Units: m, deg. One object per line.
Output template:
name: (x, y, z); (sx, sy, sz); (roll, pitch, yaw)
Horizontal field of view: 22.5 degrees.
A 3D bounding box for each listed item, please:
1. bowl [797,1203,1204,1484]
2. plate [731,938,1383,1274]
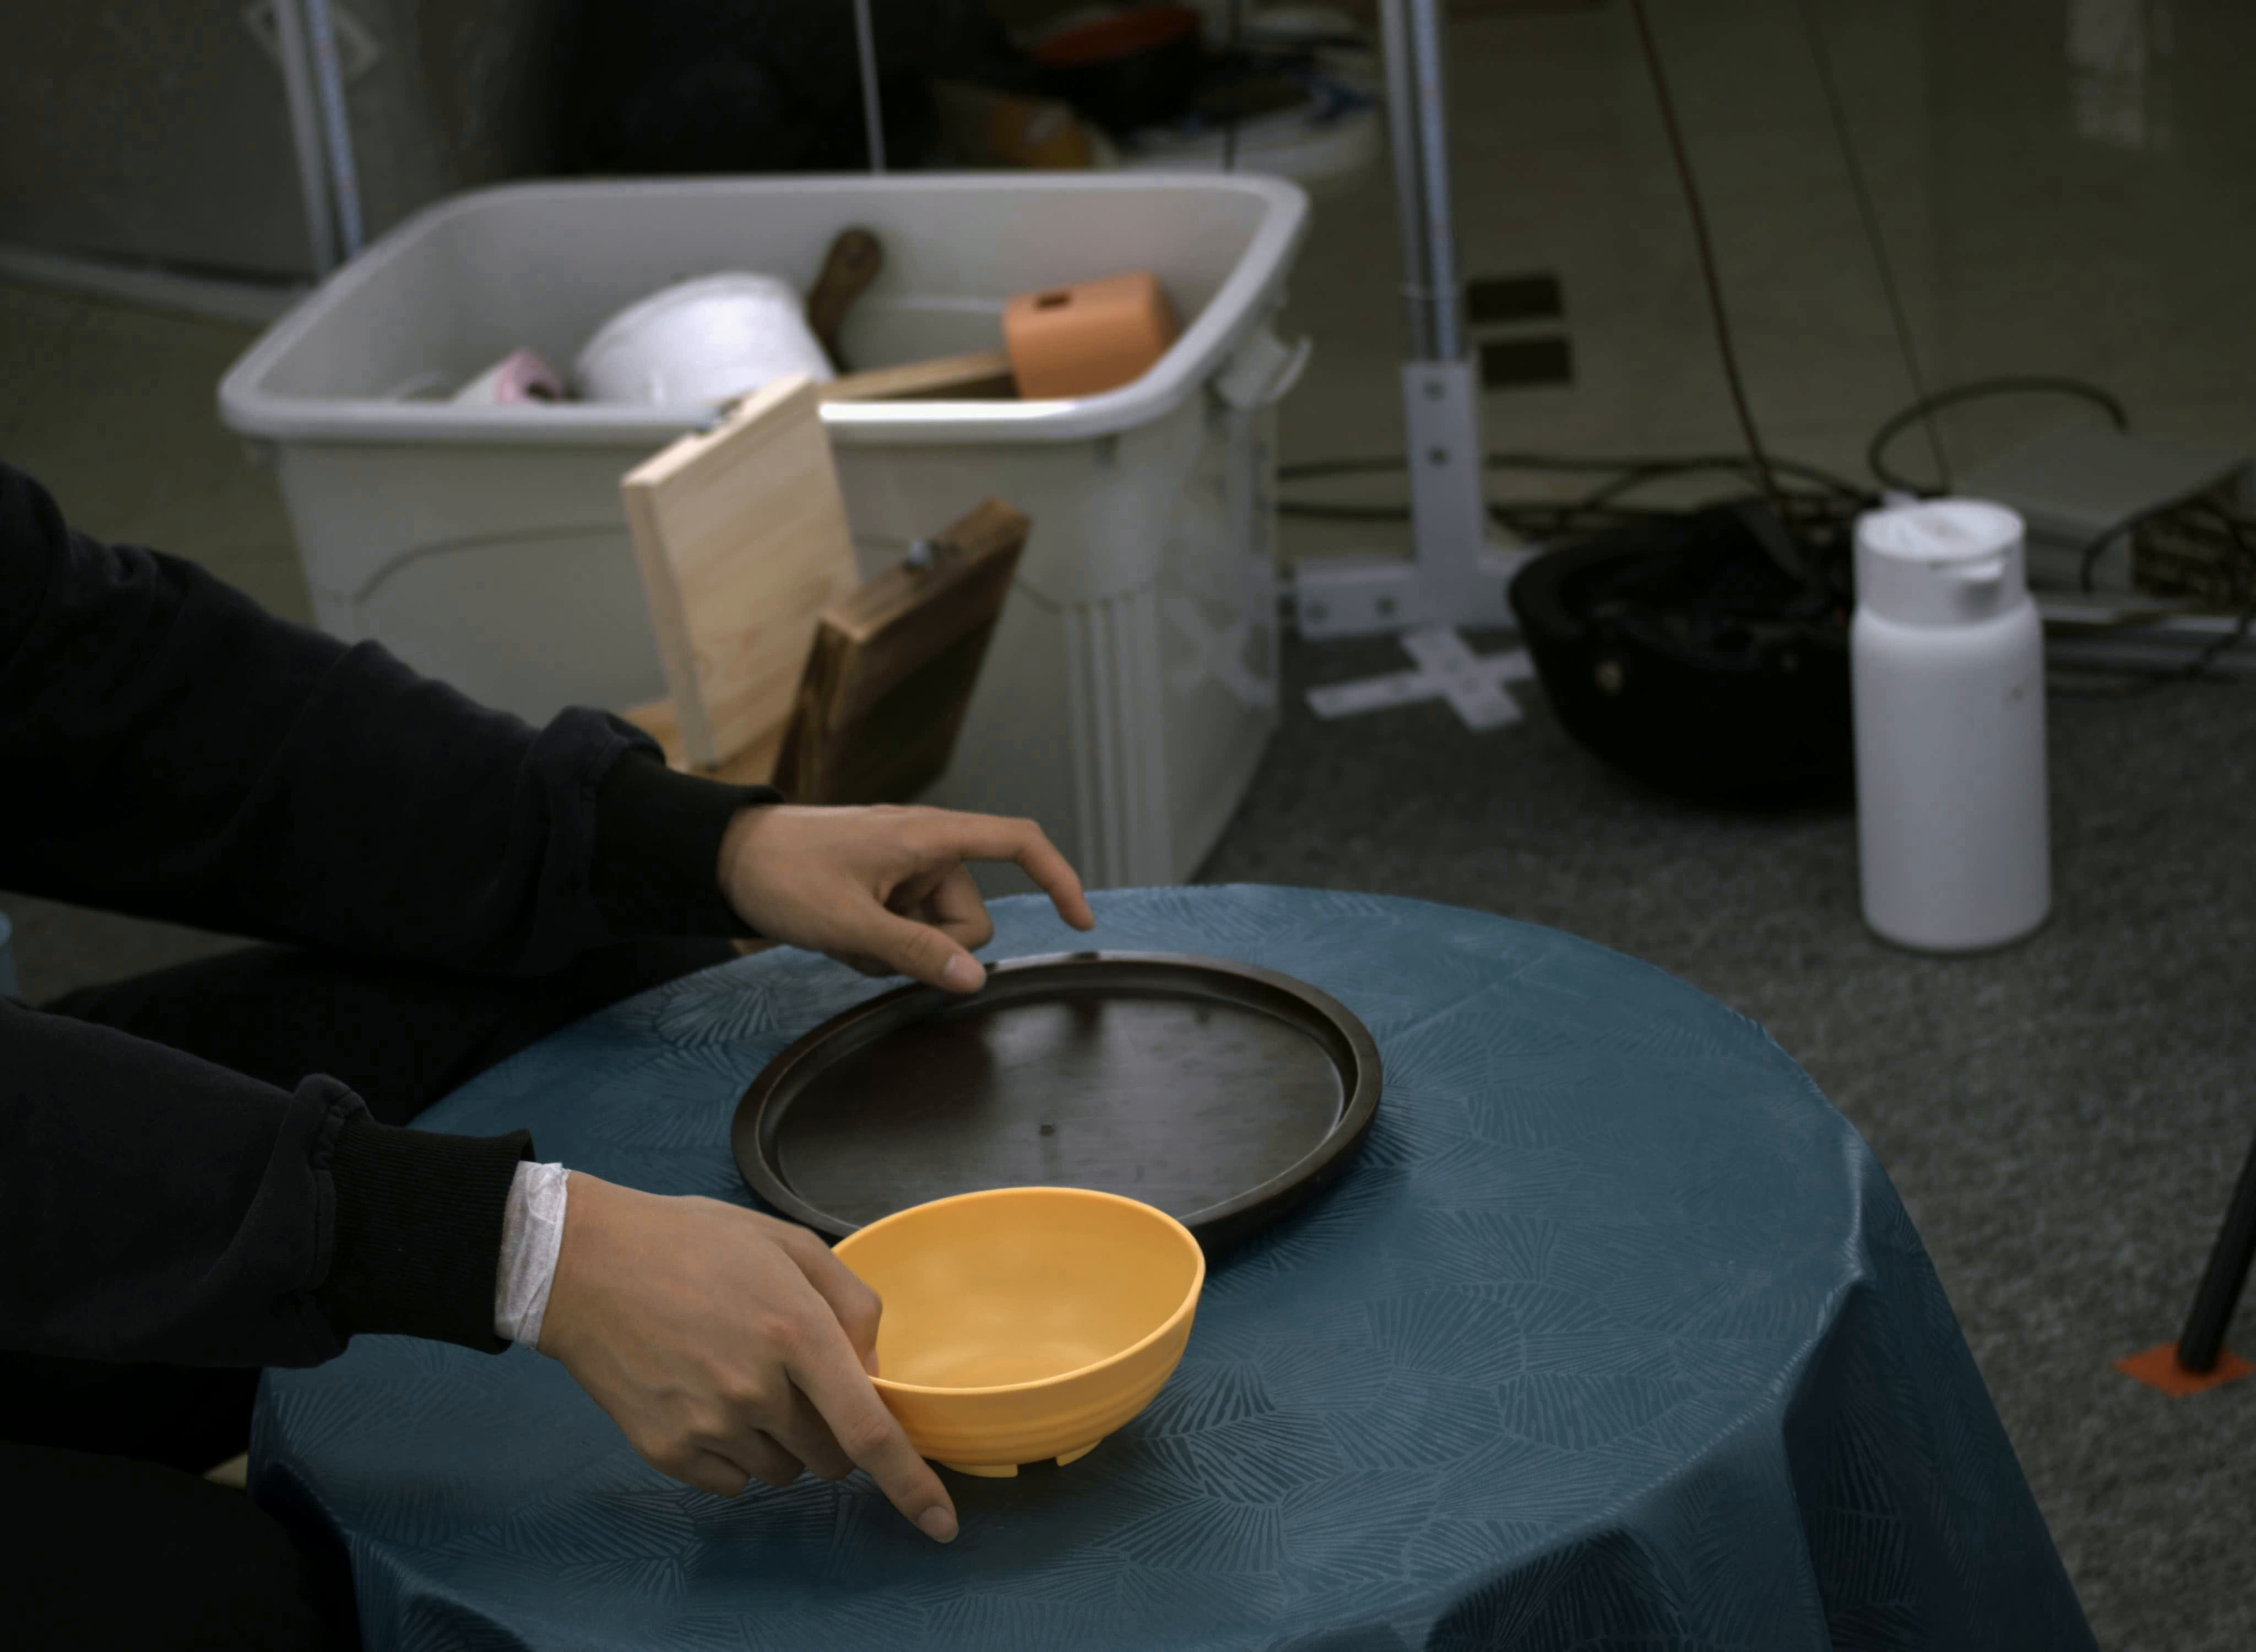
bowl: (-0.041, 0.189, 1.990); (0.145, 0.061, 0.143); (-7, 23, 3)
plate: (-0.027, 0.114, 2.187); (0.254, 0.029, 0.251); (-6, 26, 3)
